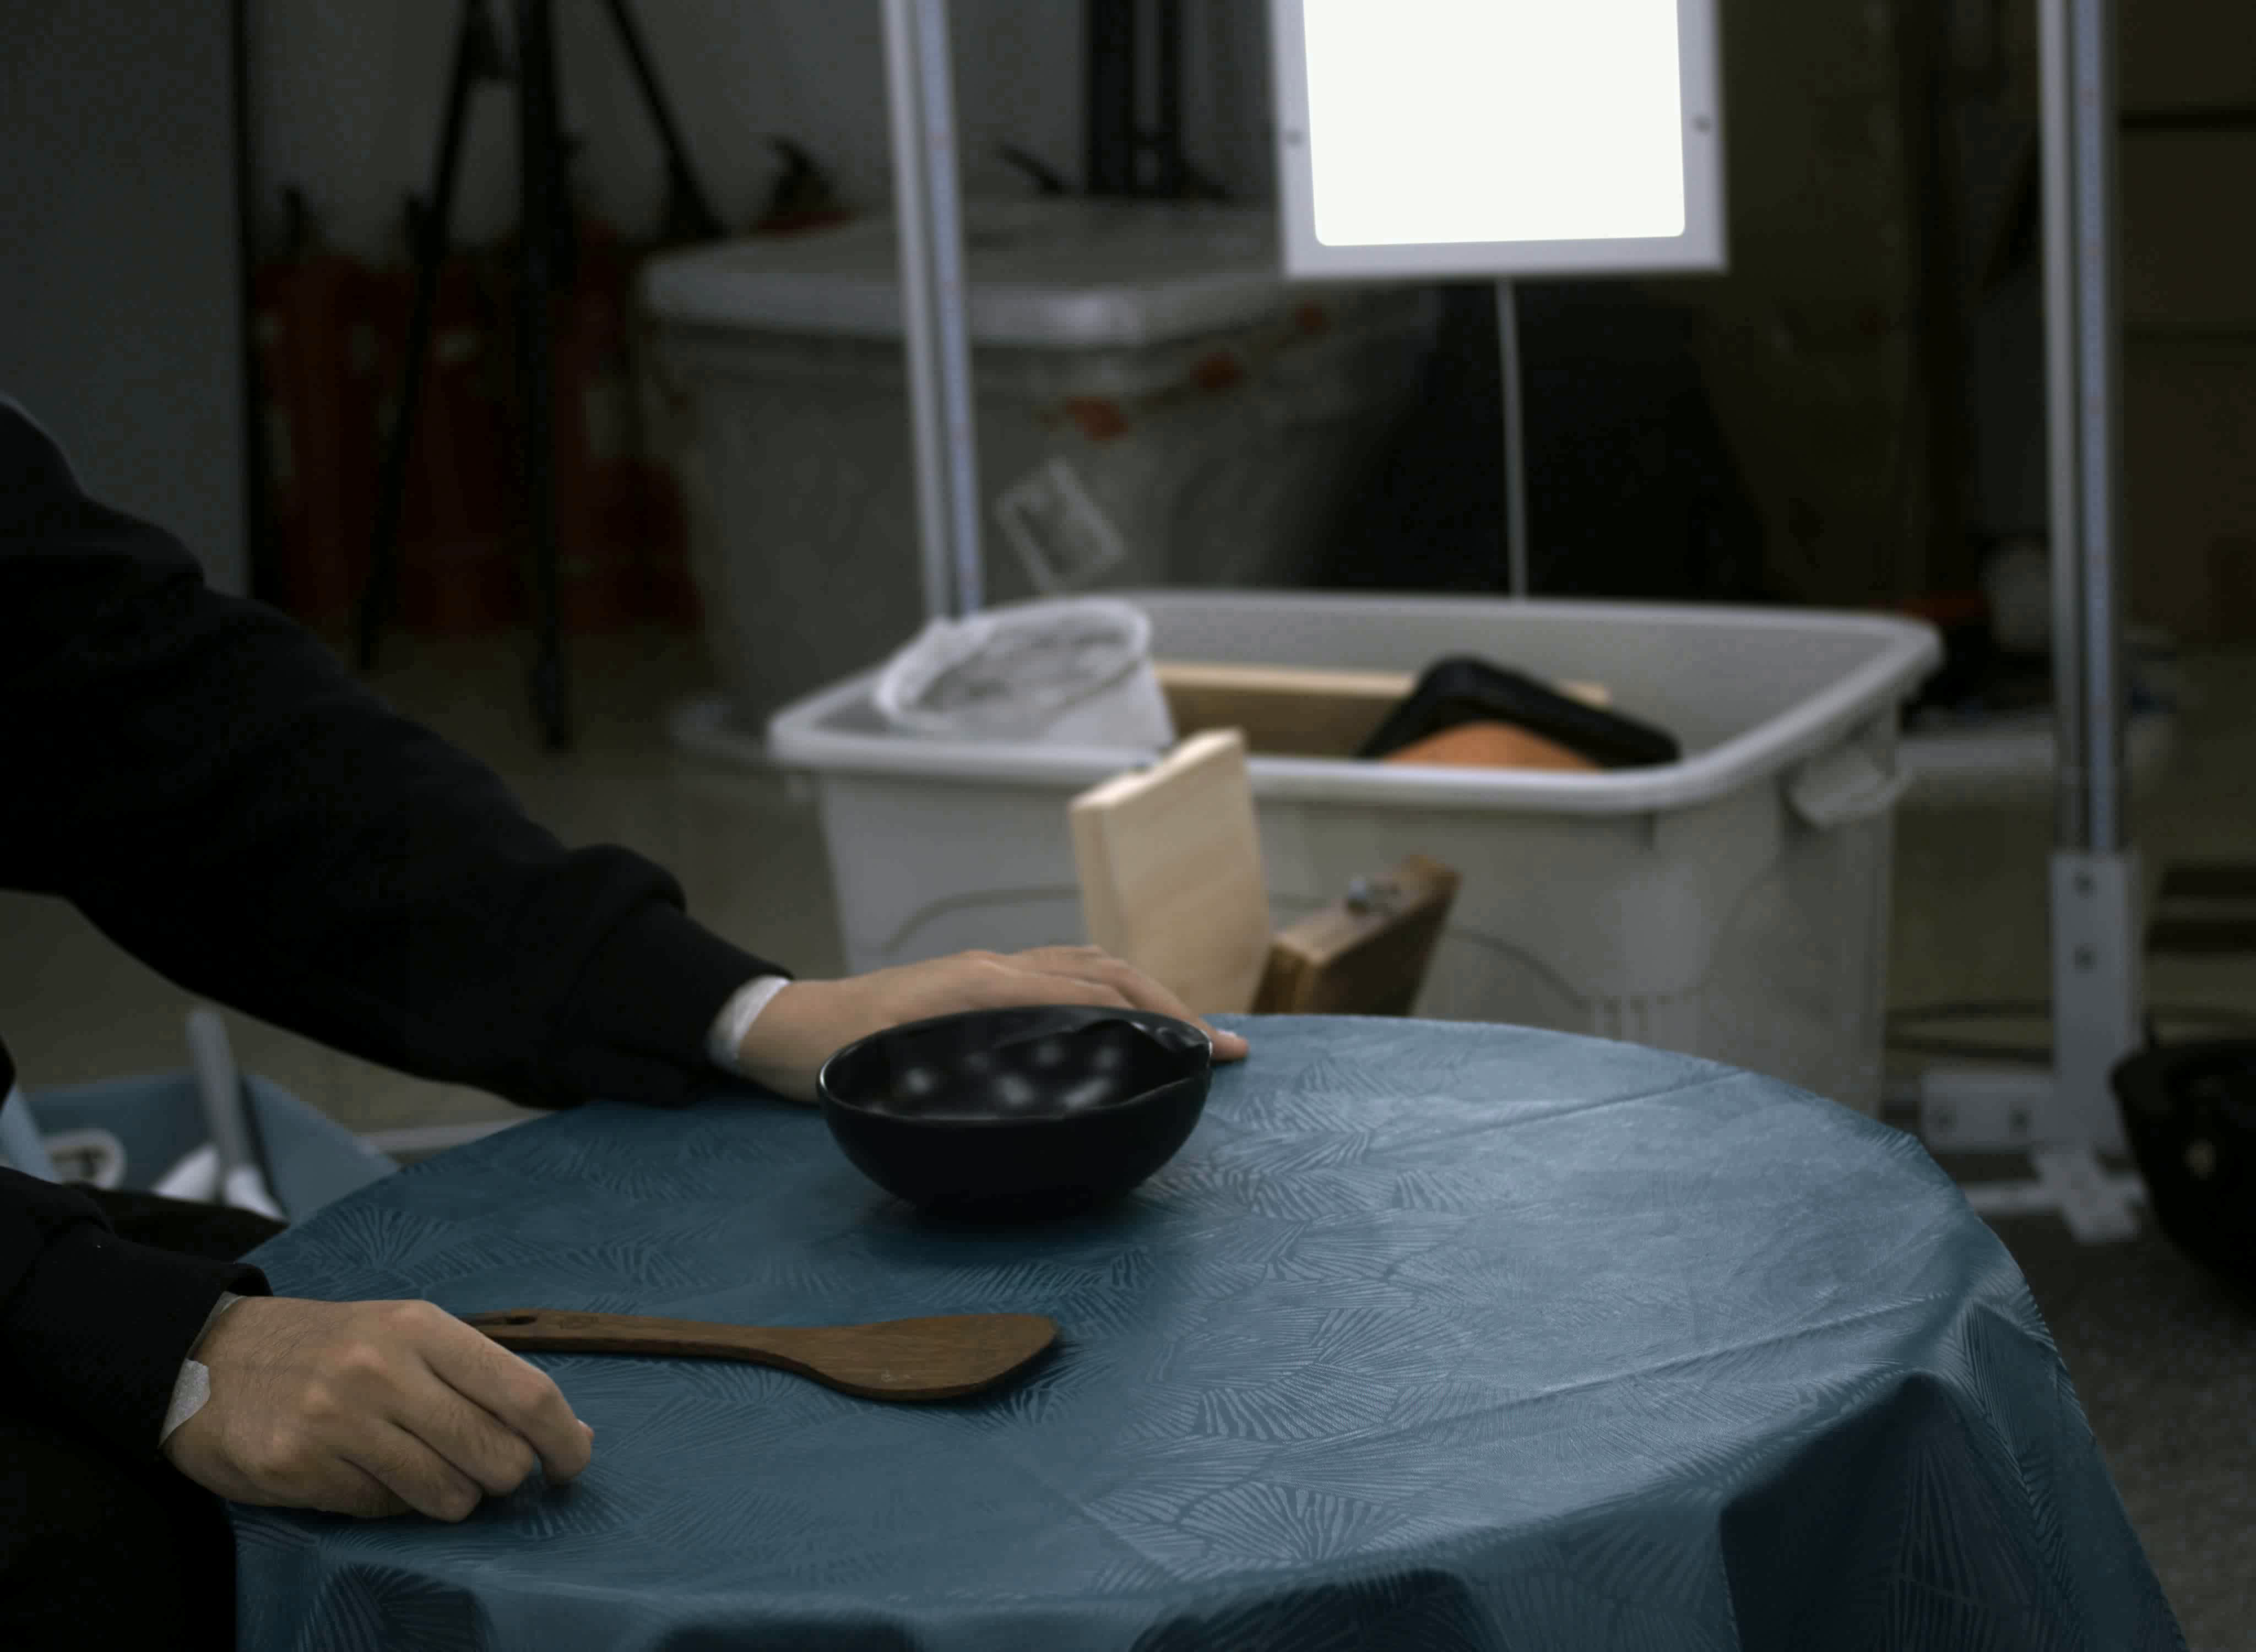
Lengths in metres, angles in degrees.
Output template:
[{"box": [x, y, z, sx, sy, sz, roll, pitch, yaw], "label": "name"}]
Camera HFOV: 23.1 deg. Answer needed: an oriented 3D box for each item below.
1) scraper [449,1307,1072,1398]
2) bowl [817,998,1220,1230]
[{"box": [-0.122, 0.165, 1.767, 0.215, 0.011, 0.074, 1, 14, 25], "label": "scraper"}, {"box": [-0.036, 0.104, 1.903, 0.140, 0.050, 0.140, -6, 16, 0], "label": "bowl"}]
